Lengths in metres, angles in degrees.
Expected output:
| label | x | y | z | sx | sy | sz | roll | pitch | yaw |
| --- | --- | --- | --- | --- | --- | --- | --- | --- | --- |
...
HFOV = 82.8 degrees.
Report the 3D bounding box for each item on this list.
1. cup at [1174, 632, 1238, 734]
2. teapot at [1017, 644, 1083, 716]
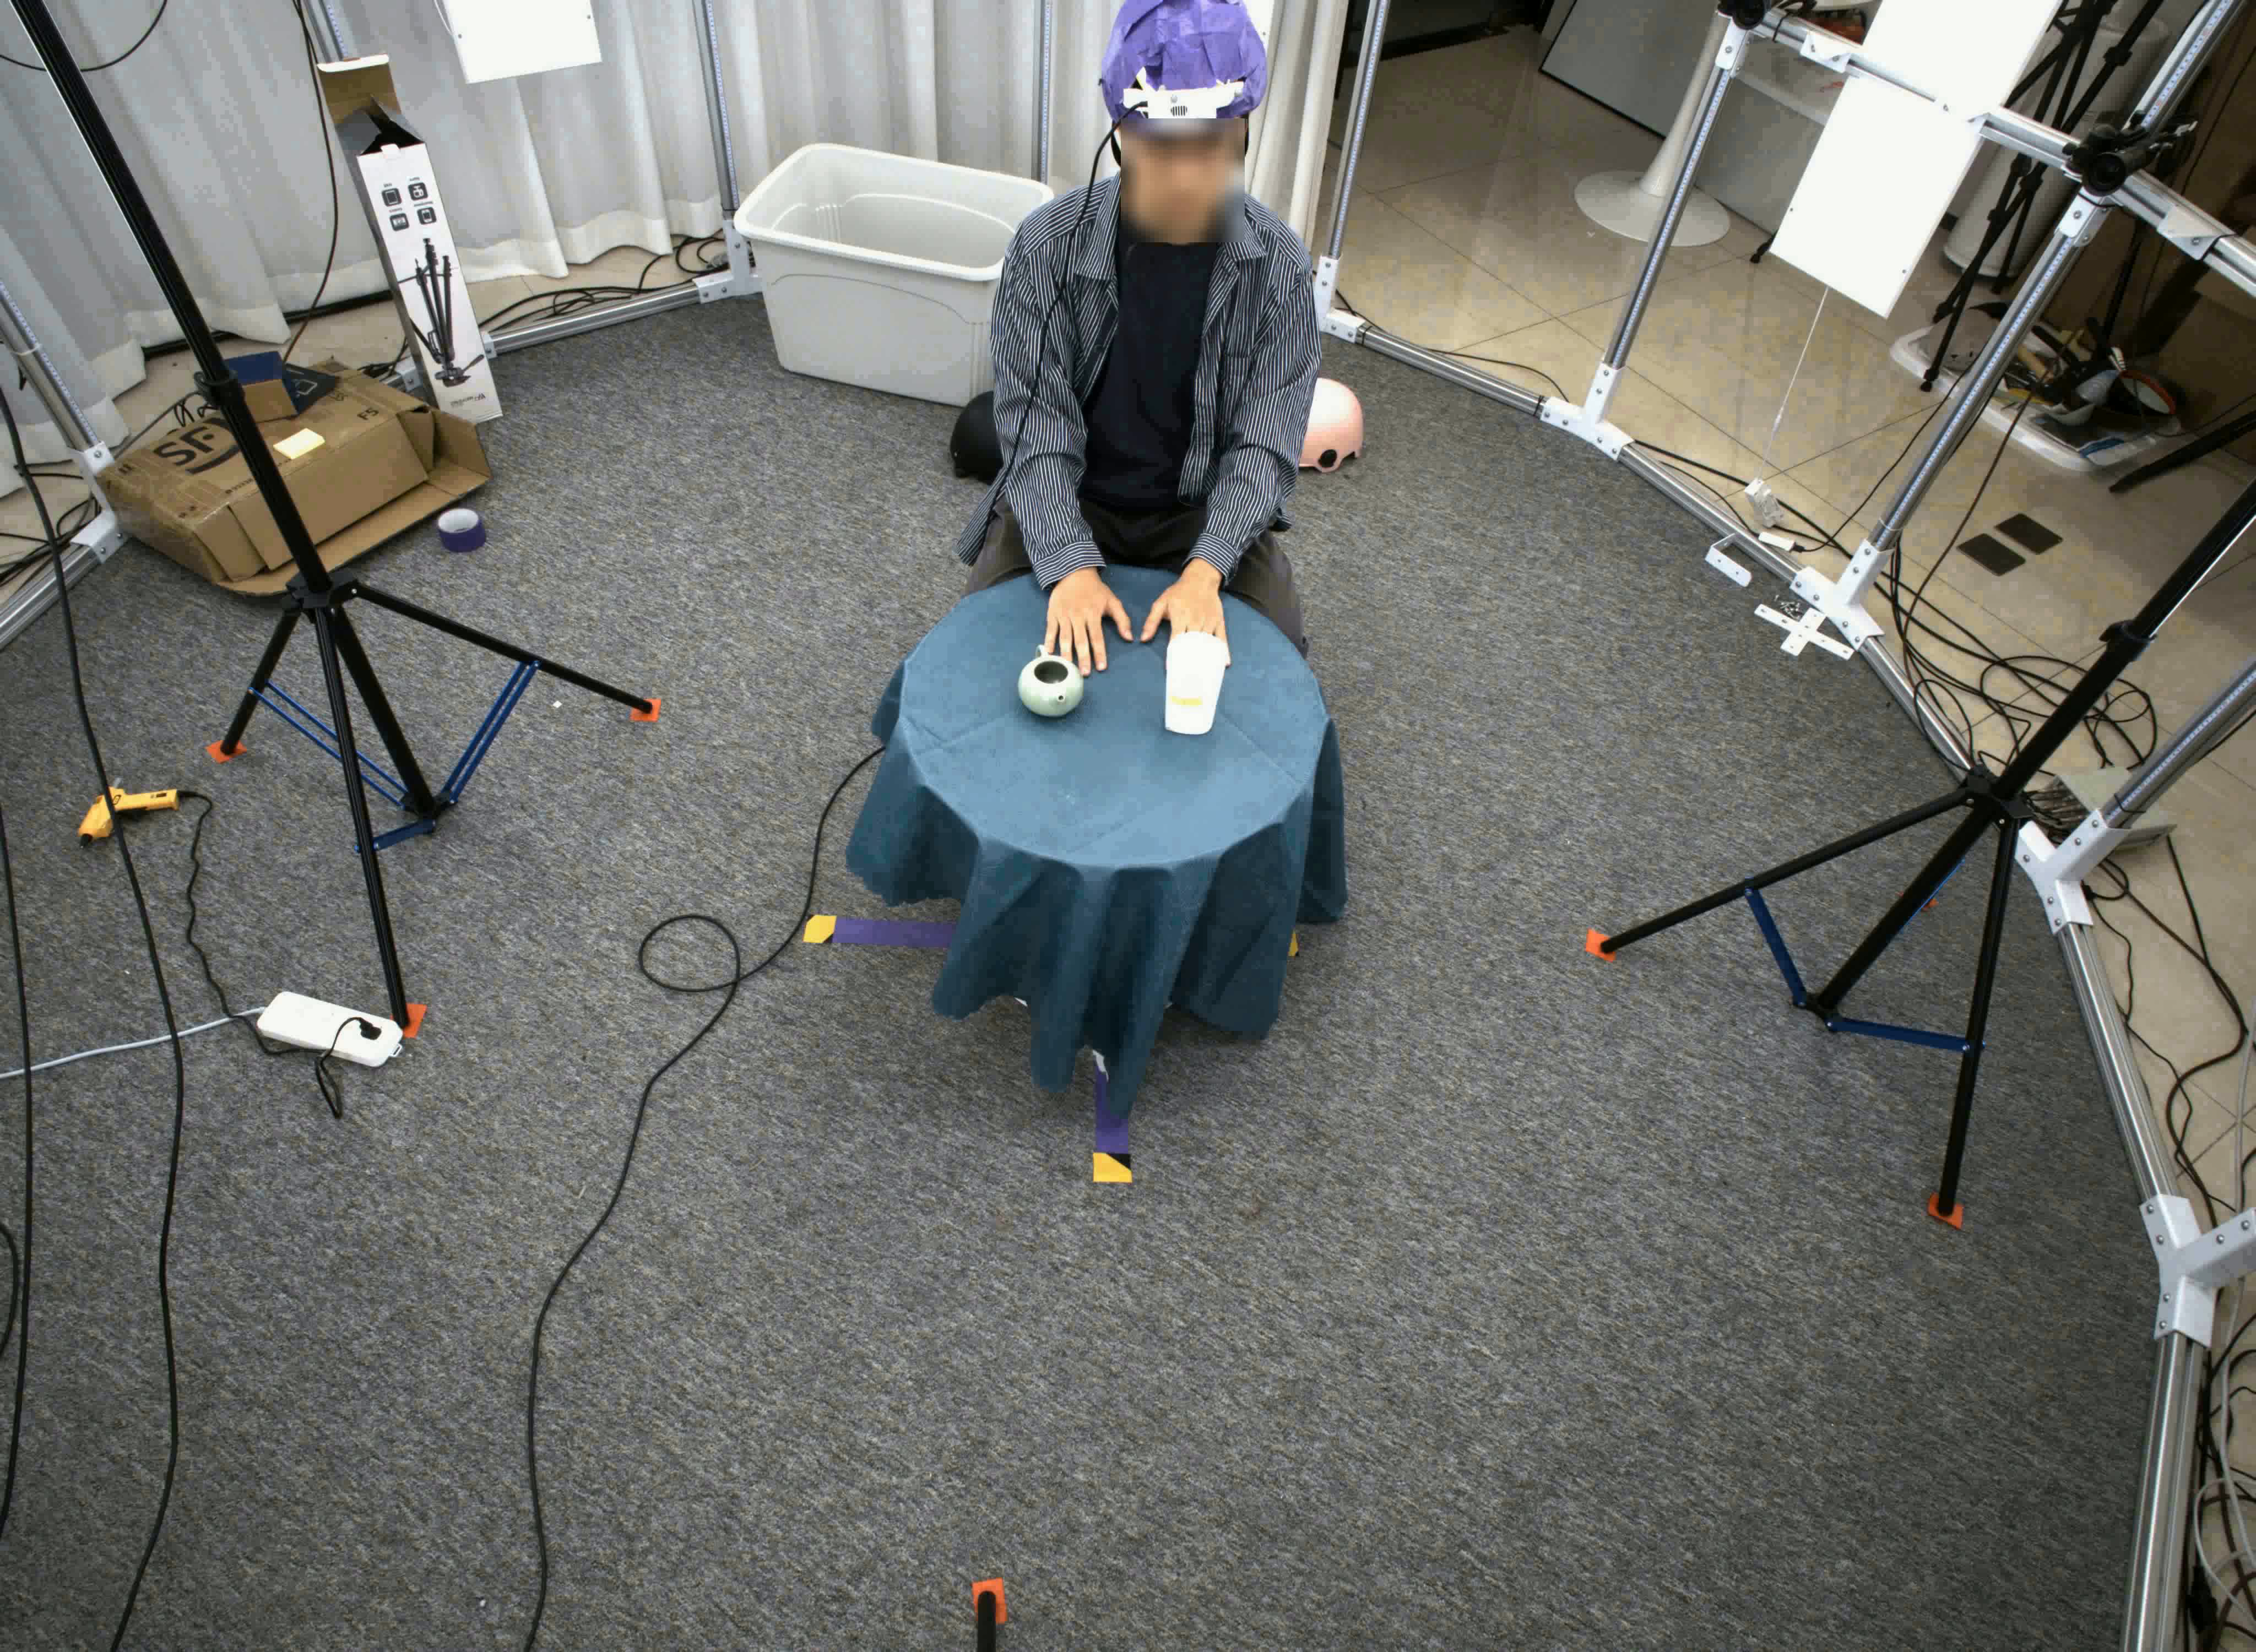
| label | x | y | z | sx | sy | sz | roll | pitch | yaw |
| --- | --- | --- | --- | --- | --- | --- | --- | --- | --- |
| cup | 0.102 | -0.191 | 1.750 | 0.081 | 0.122 | 0.084 | 2 | 49 | -3 |
| teapot | -0.110 | -0.202 | 1.787 | 0.091 | 0.059 | 0.132 | -8 | 50 | -9 |
